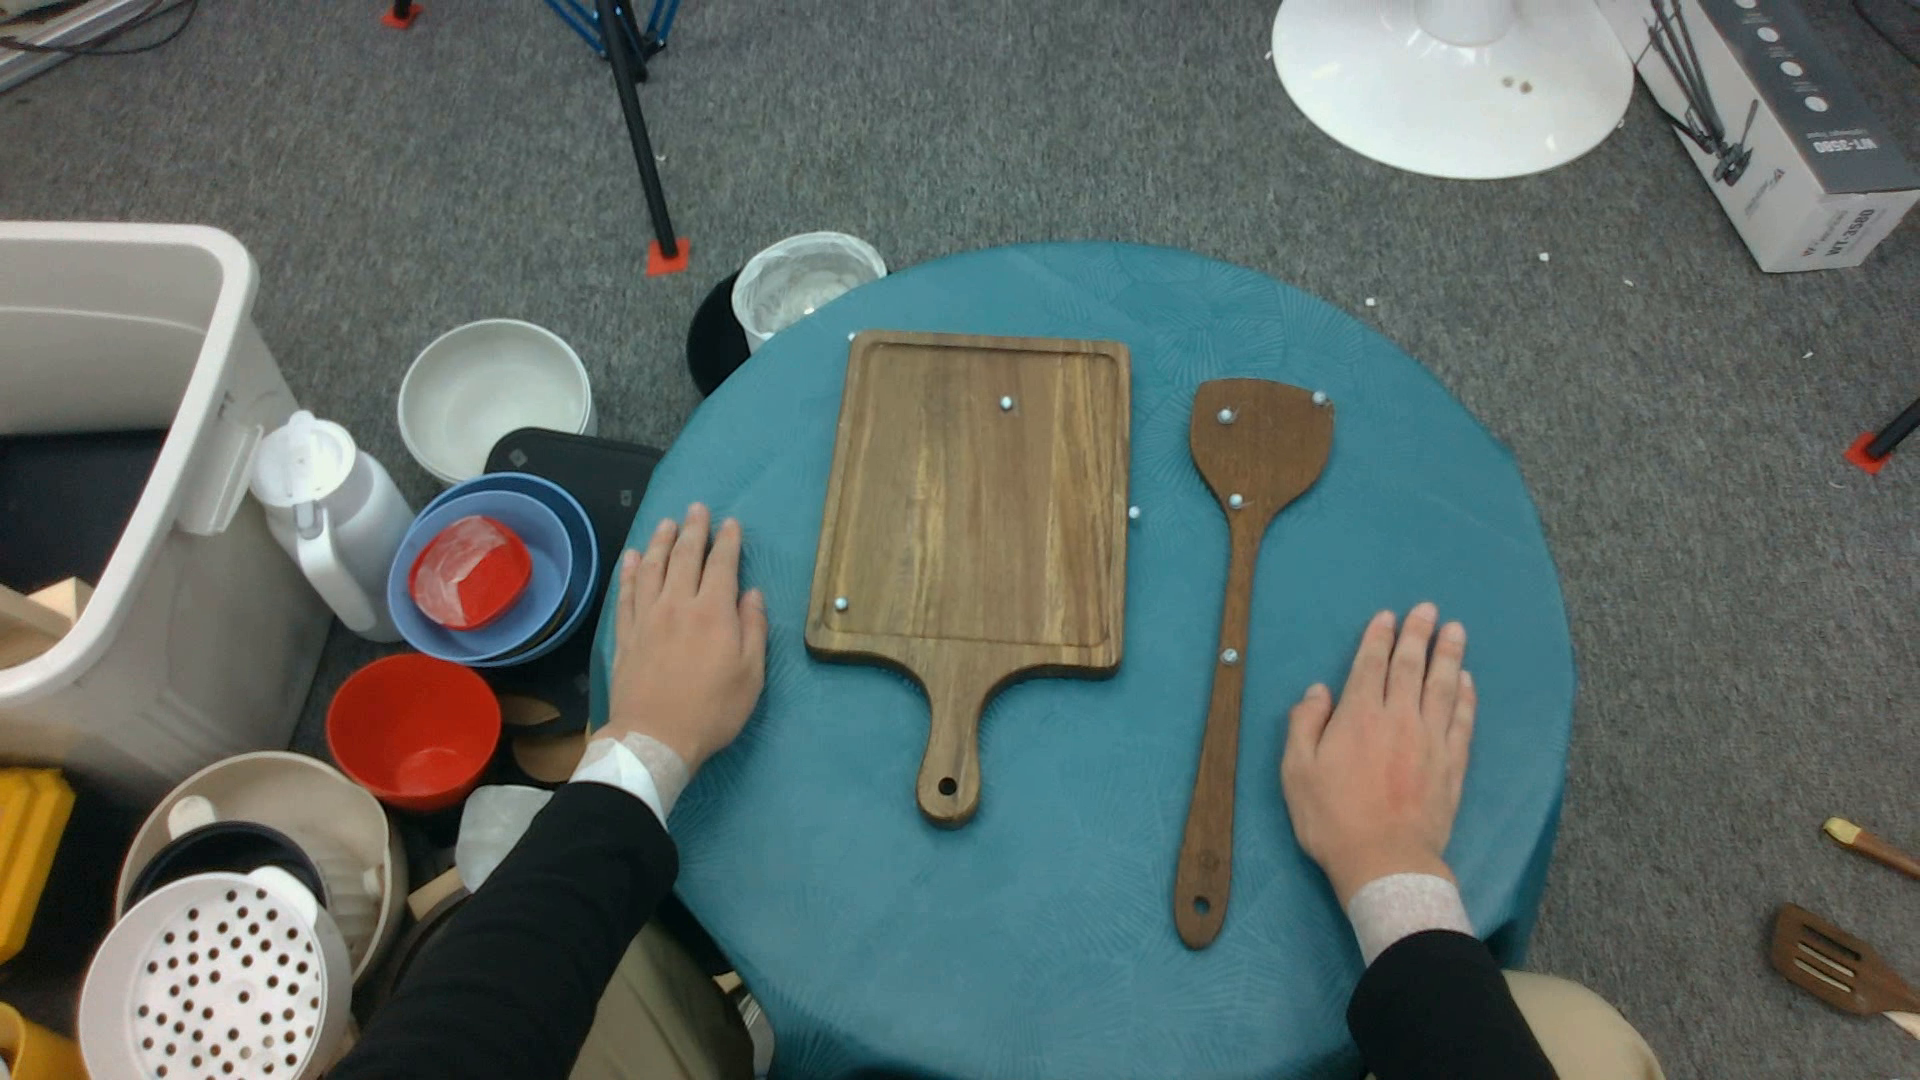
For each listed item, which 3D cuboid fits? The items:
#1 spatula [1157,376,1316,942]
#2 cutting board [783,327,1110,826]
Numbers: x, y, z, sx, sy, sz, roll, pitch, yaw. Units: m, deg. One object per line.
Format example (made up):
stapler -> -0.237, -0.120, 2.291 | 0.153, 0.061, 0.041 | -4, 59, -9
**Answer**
spatula -> 0.158, 0.054, 0.845 | 0.096, 0.016, 0.387 | 9, 60, 7
cutting board -> -0.006, 0.008, 0.870 | 0.201, 0.023, 0.353 | 3, 59, 2
